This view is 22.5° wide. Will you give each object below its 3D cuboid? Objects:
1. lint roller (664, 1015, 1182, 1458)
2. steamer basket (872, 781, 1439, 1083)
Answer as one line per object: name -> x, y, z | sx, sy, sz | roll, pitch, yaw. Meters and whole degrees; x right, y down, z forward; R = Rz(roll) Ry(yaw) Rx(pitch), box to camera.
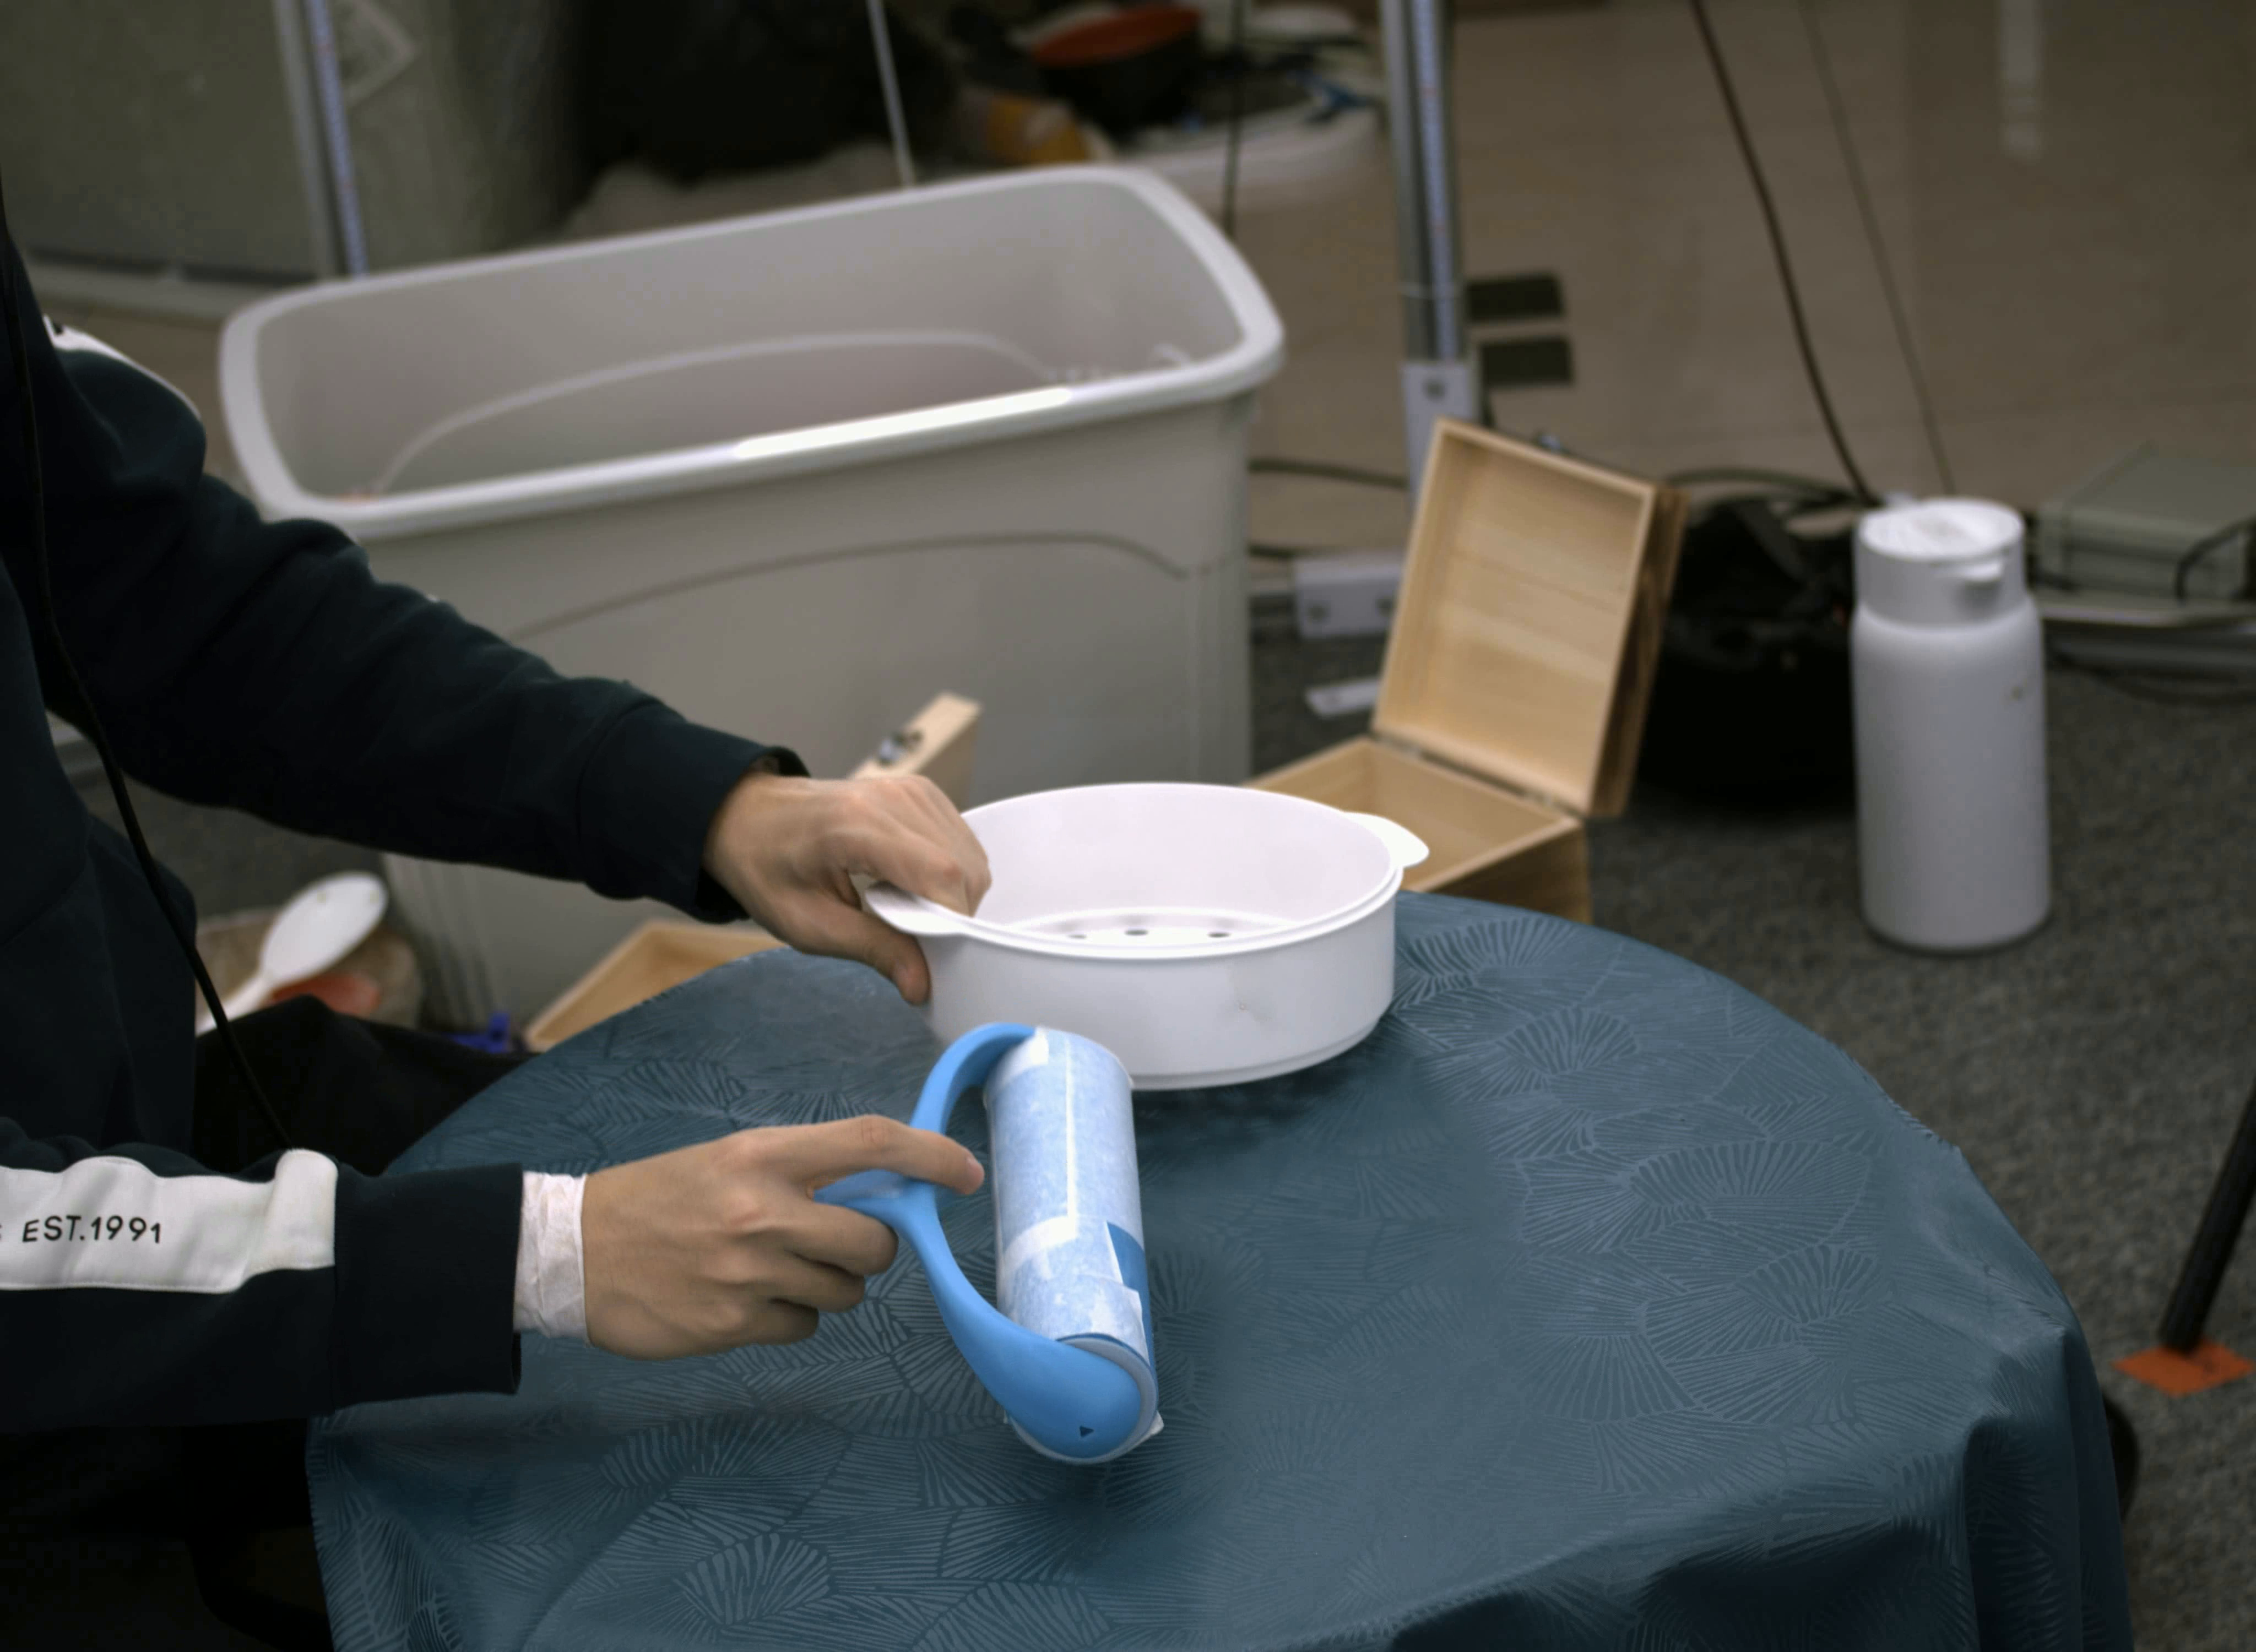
lint roller -> -0.076, 0.150, 2.003 | 0.180, 0.069, 0.225 | -7, 34, -5
steamer basket -> 0.013, 0.043, 2.245 | 0.230, 0.070, 0.200 | -9, 19, -20
